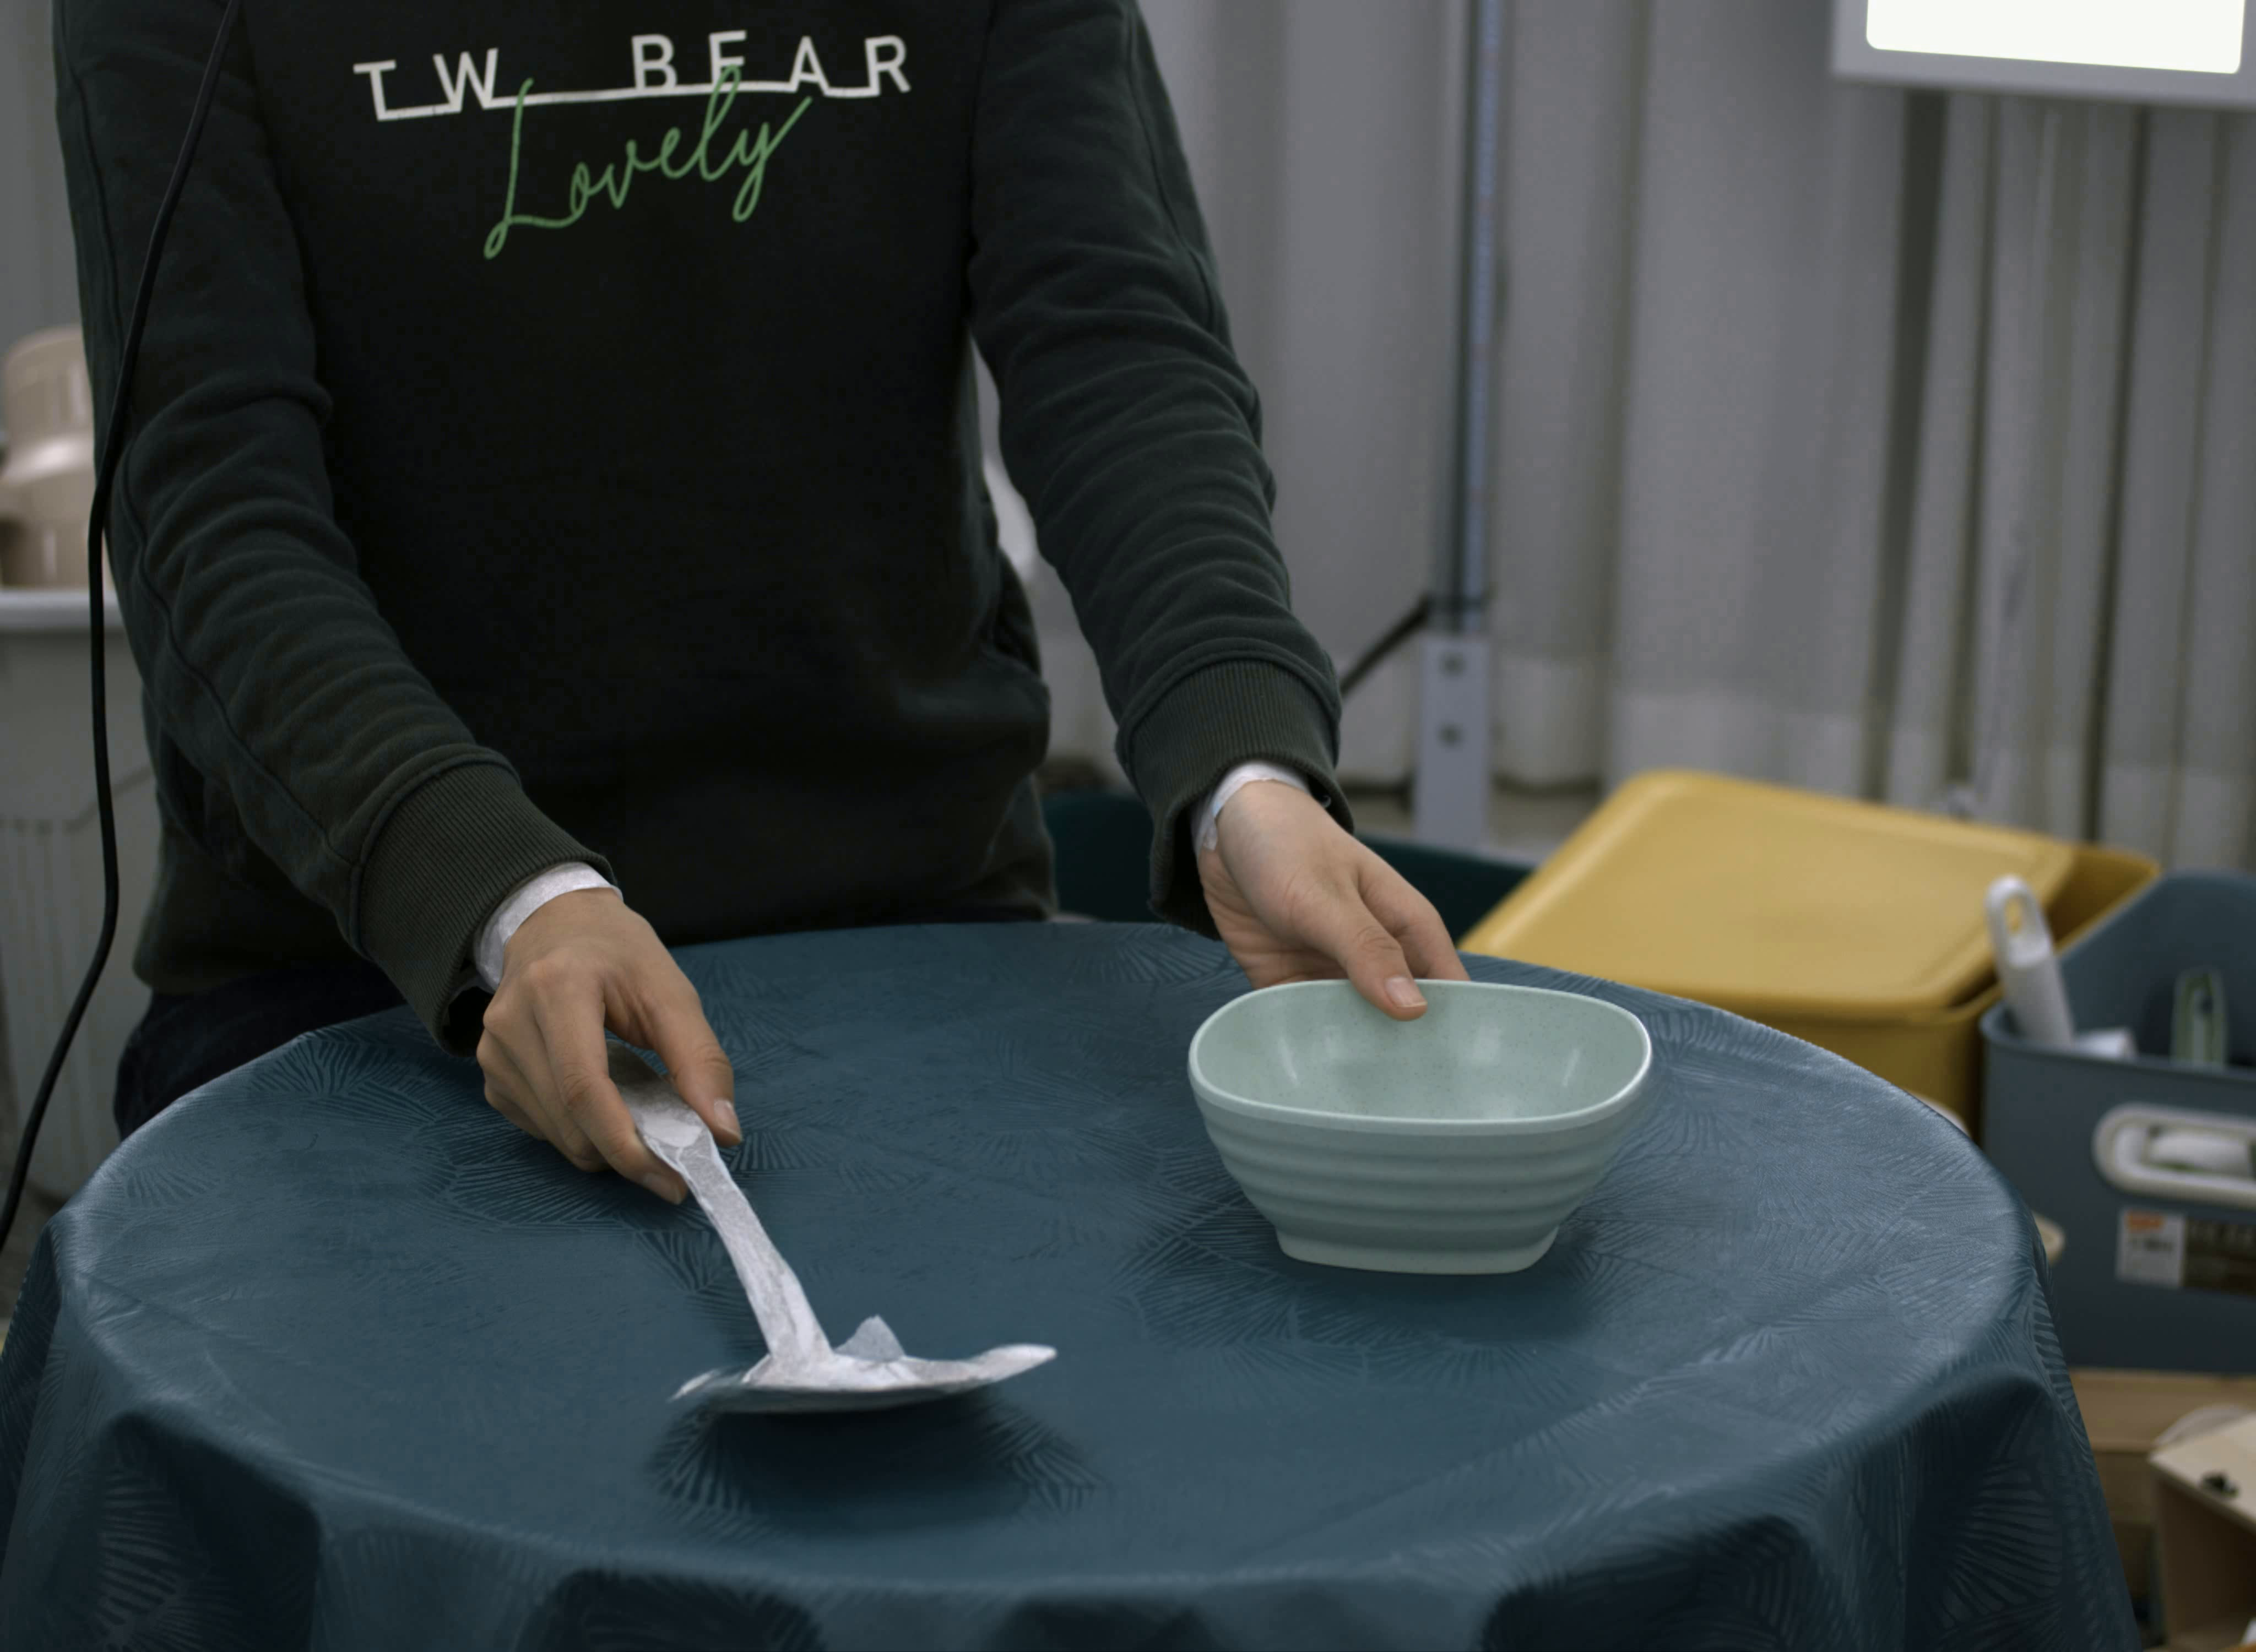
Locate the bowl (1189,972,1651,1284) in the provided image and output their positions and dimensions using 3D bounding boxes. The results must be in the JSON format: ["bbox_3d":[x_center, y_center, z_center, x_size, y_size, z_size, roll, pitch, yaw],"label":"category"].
[{"bbox_3d":[0.087,0.095,1.591,0.151,0.059,0.150,3,18,0],"label":"bowl"}]

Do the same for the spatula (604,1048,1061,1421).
[{"bbox_3d":[-0.112,0.111,1.543,0.099,0.045,0.361,-5,19,-17],"label":"spatula"}]
